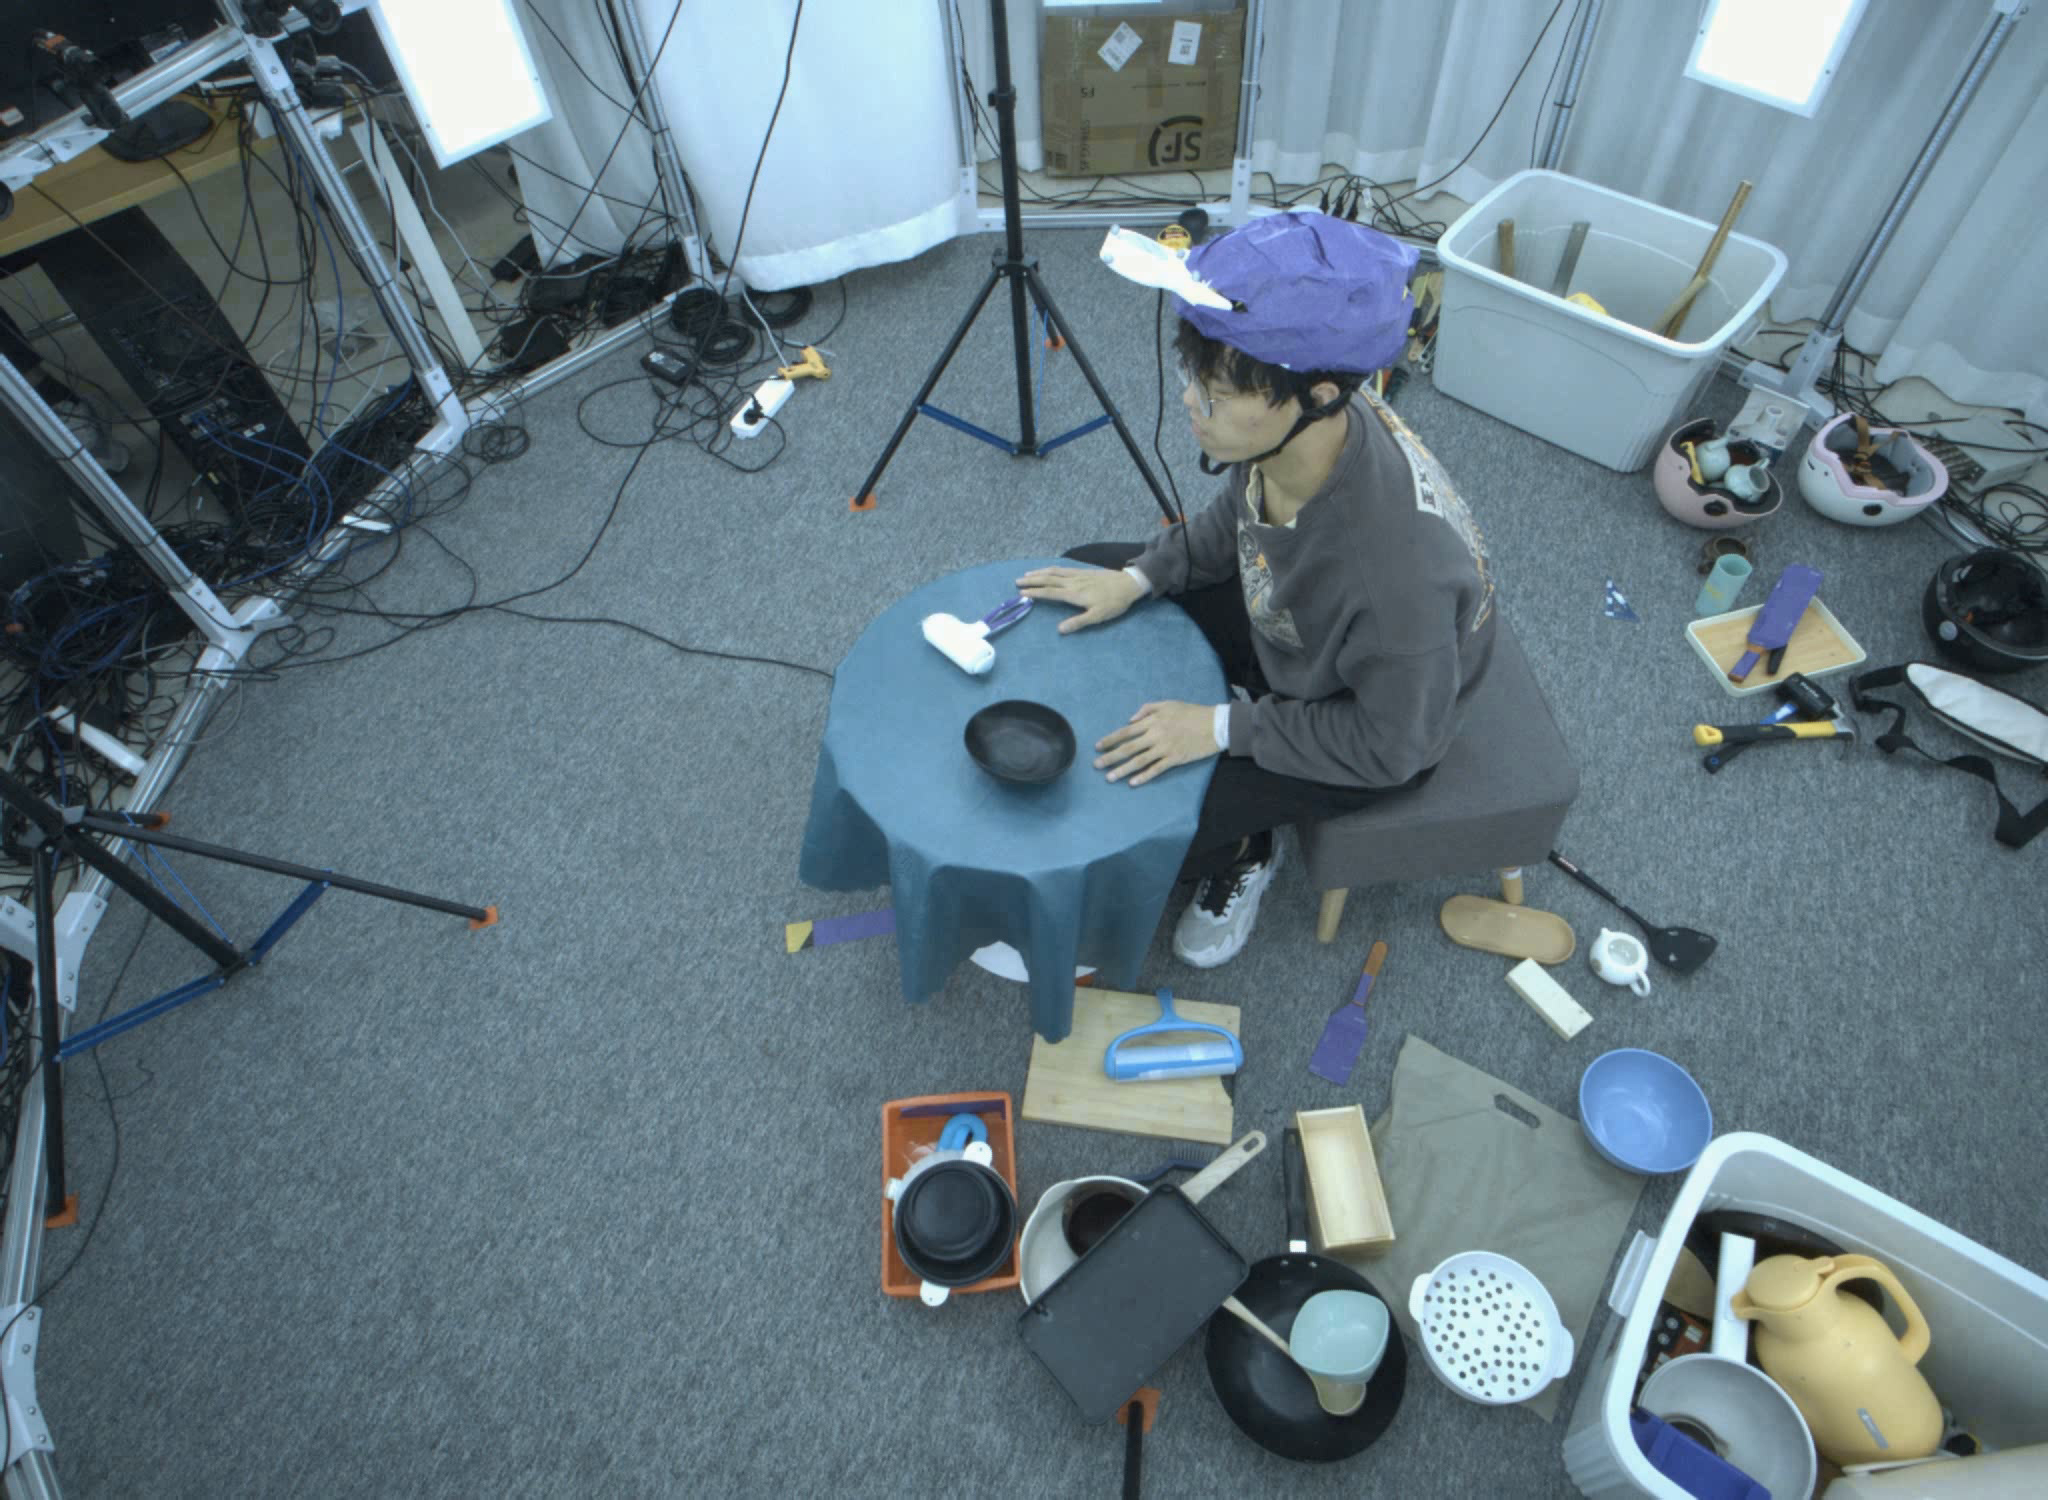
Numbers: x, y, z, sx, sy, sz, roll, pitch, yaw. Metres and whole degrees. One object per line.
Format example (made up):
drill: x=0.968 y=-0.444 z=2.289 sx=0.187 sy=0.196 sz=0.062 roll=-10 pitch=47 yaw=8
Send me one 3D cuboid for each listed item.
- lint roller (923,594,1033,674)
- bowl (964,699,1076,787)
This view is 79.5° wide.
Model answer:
lint roller: x=-0.055 y=-0.199 z=1.900 sx=0.182 sy=0.051 sz=0.130 roll=-38 pitch=61 yaw=-20
bowl: x=-0.006 y=0.001 z=1.746 sx=0.168 sy=0.067 sz=0.138 roll=24 pitch=58 yaw=20
